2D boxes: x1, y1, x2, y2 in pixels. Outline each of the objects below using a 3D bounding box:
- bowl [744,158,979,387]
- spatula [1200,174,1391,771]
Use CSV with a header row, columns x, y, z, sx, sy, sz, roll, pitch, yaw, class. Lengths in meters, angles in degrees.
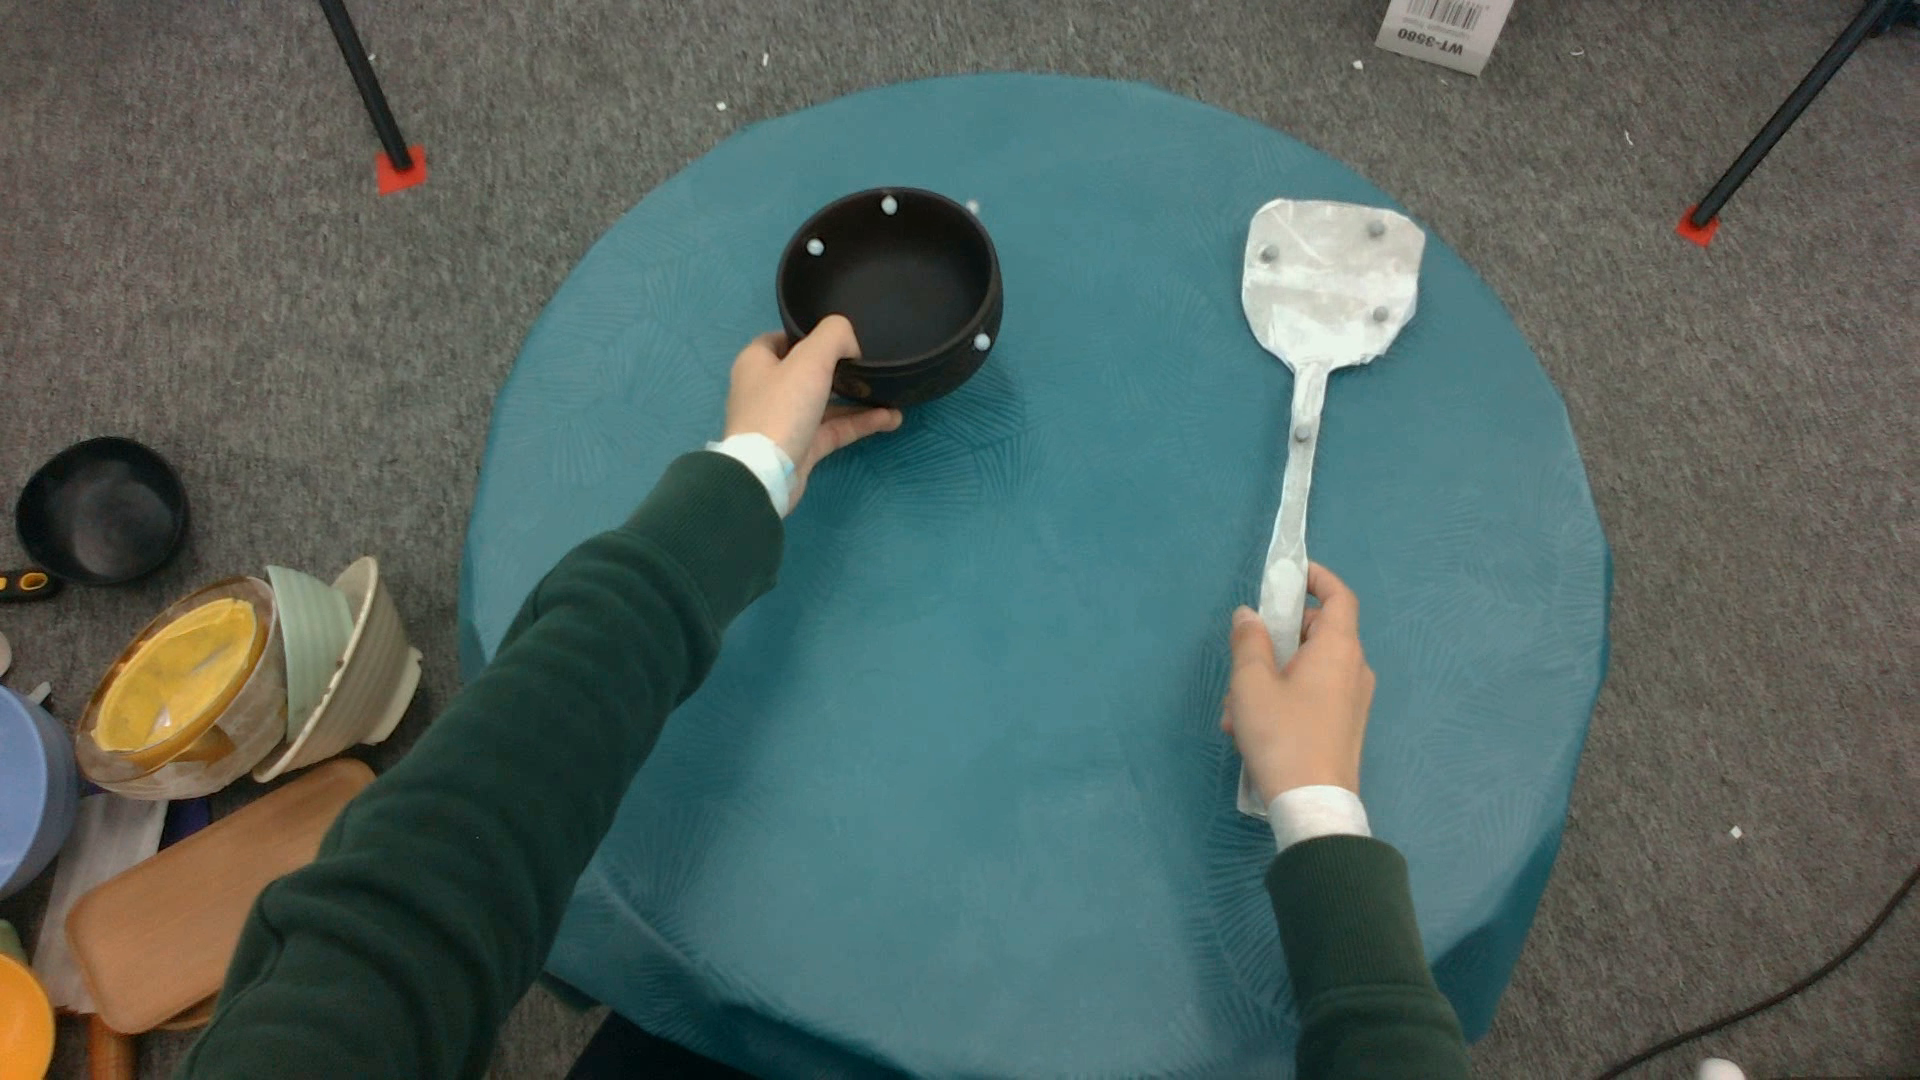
x,y,z,sx,sy,sz,roll,pitch,yaw,class
-0.047,-0.131,0.716,0.118,0.069,0.118,-3,66,7,bowl
0.162,-0.051,0.717,0.098,0.044,0.366,9,56,11,spatula
